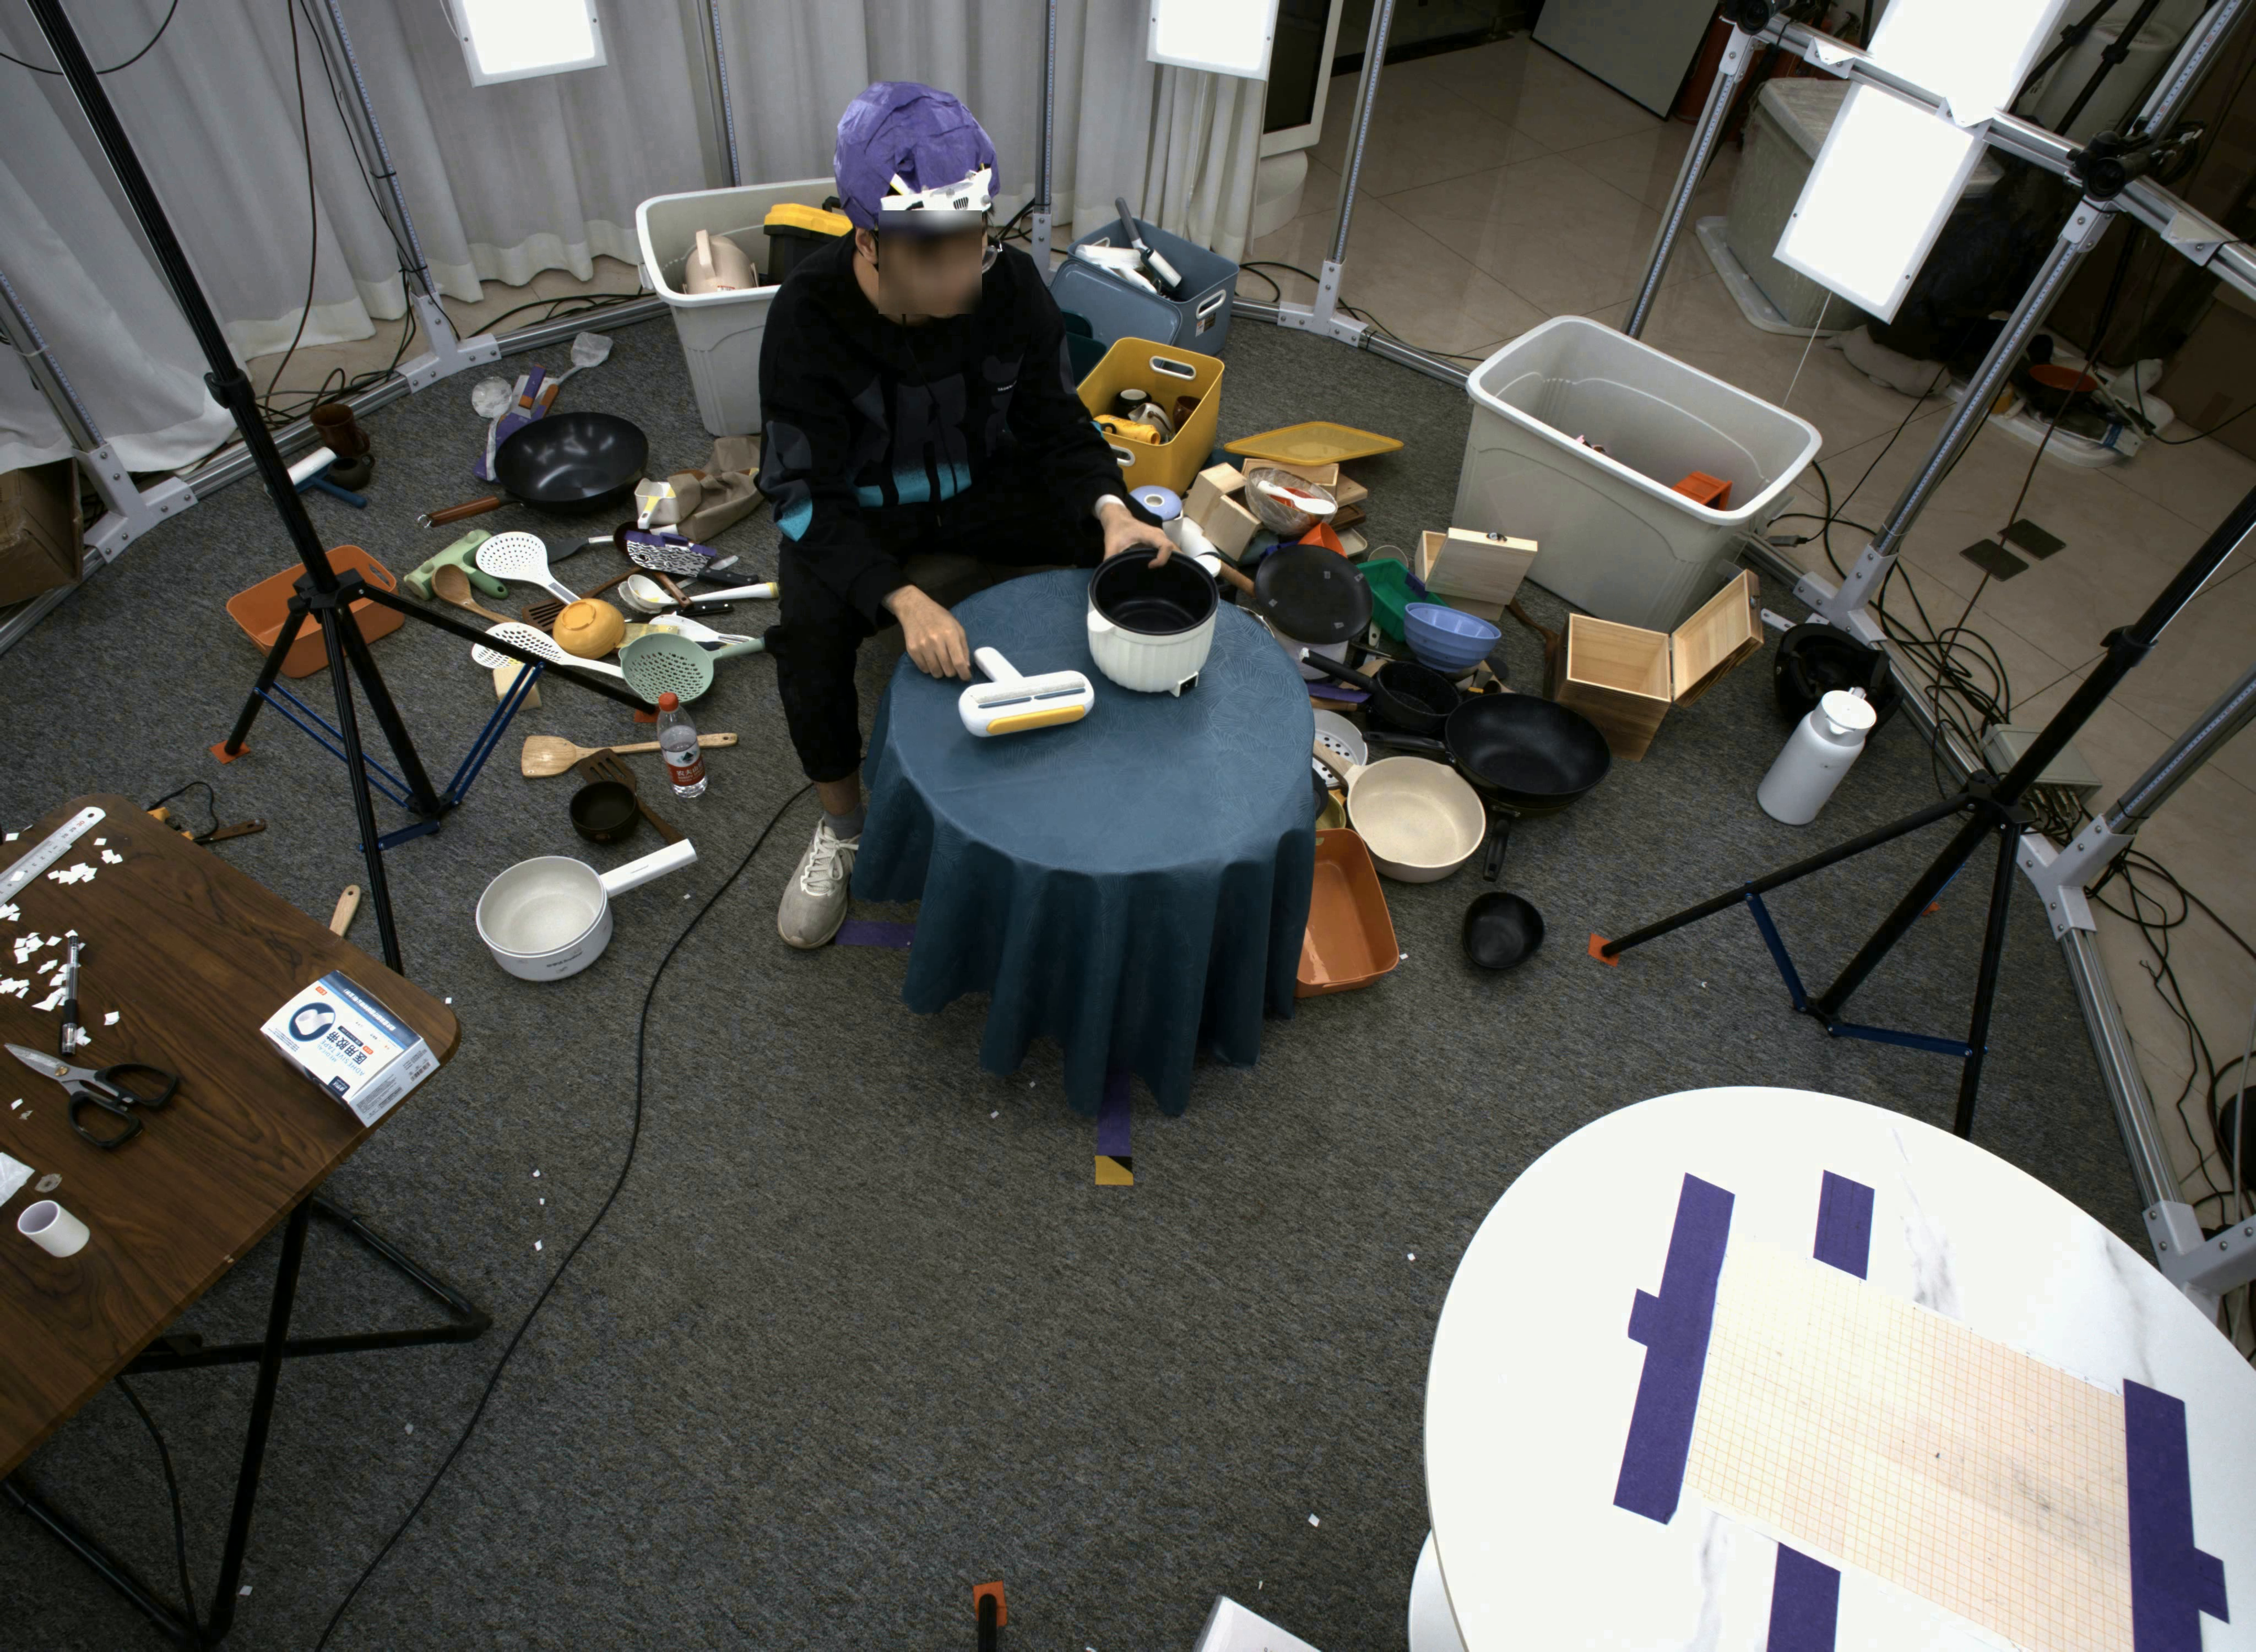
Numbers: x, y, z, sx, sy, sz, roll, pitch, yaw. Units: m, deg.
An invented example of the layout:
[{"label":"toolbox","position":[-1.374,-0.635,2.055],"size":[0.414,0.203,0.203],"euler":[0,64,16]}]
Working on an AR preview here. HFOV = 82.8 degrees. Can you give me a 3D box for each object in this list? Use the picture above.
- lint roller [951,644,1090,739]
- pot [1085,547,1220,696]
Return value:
[{"label":"lint roller","position":[-0.167,-0.202,1.788],"size":[0.193,0.072,0.197],"euler":[-12,49,-20]},{"label":"pot","position":[0.028,-0.289,1.830],"size":[0.242,0.139,0.193],"euler":[-32,61,-28]}]
